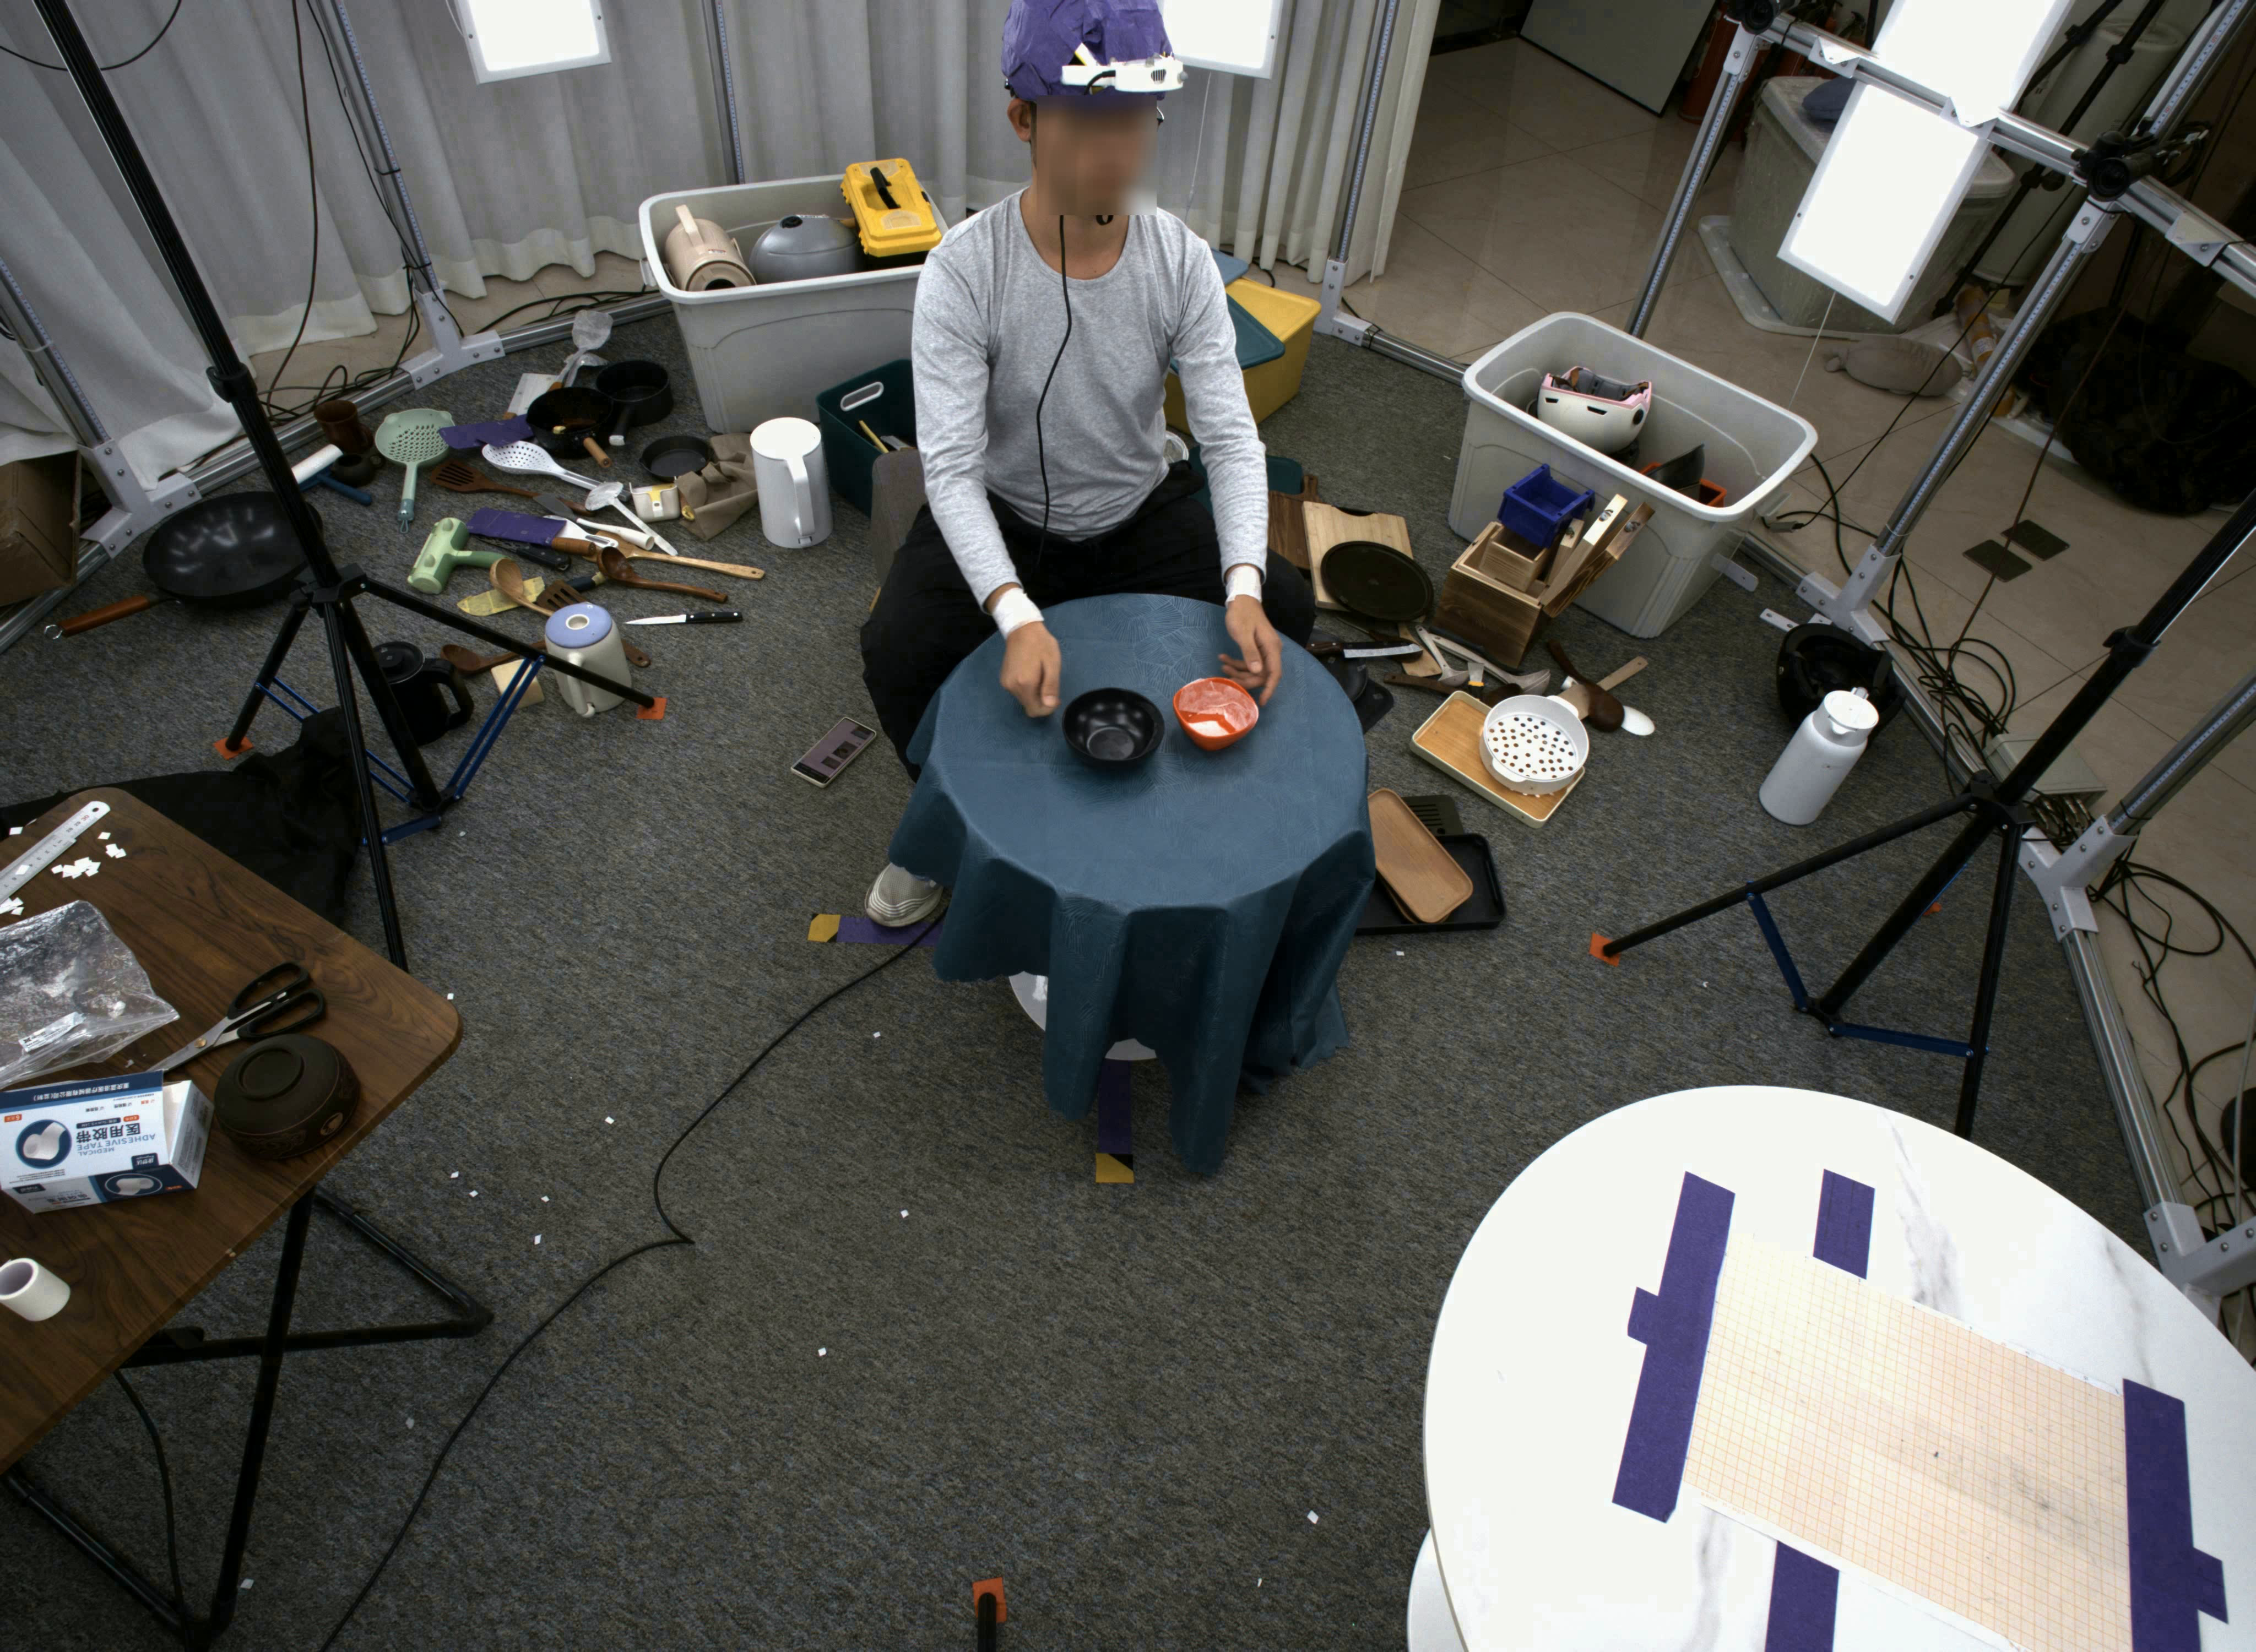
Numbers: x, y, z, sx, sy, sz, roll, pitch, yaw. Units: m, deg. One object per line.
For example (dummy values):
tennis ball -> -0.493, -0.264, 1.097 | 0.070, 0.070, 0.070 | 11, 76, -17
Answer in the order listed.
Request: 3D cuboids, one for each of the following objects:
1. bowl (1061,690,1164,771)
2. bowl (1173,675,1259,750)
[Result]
bowl -> -0.022, -0.122, 1.742 | 0.140, 0.048, 0.143 | 2, 46, -2
bowl -> 0.119, -0.150, 1.771 | 0.119, 0.050, 0.122 | 2, 51, -2
